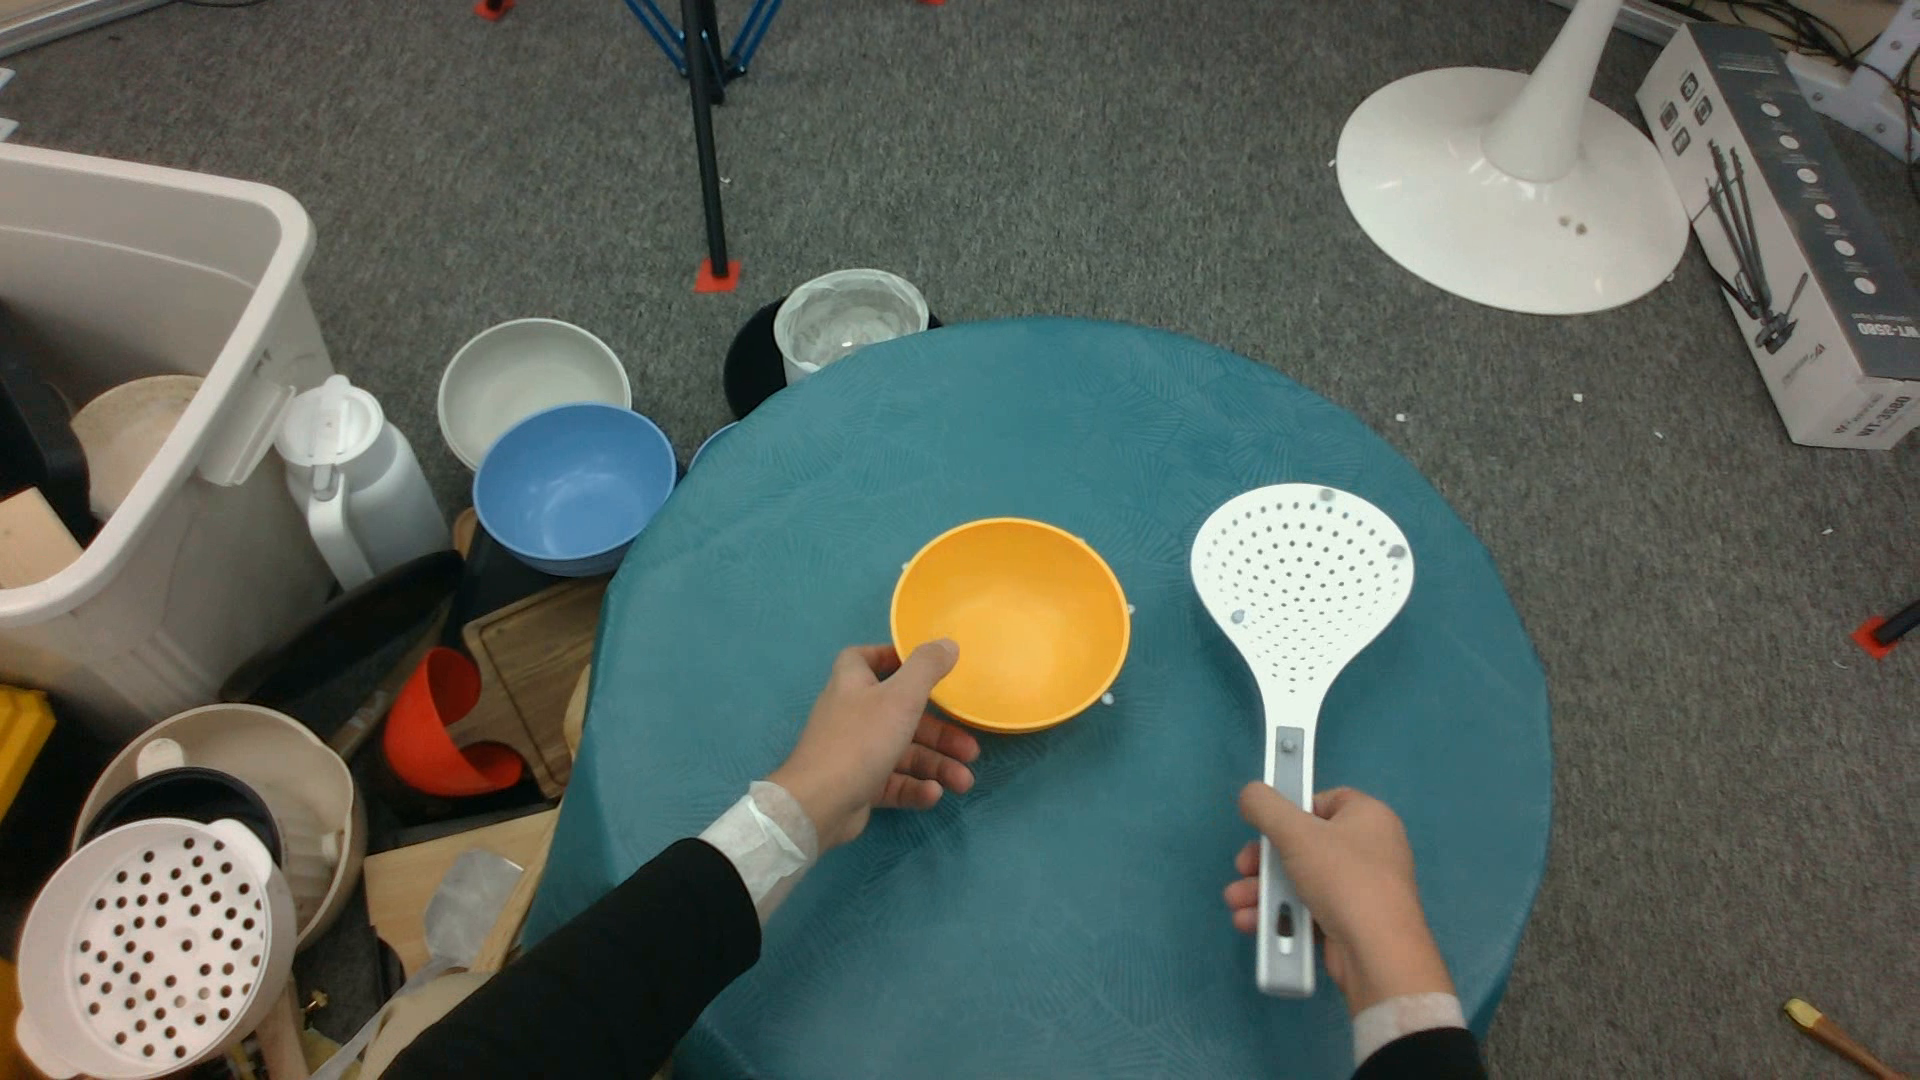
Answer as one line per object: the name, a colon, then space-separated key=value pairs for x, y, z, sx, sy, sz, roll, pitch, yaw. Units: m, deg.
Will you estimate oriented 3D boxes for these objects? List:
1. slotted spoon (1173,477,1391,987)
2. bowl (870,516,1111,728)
slotted spoon: x=0.184 y=0.095 z=0.813 sx=0.136 sy=0.045 sz=0.351 roll=4 pitch=45 yaw=12
bowl: x=0.017 y=0.059 z=0.846 sx=0.145 sy=0.060 sz=0.146 roll=1 pitch=56 yaw=-2
